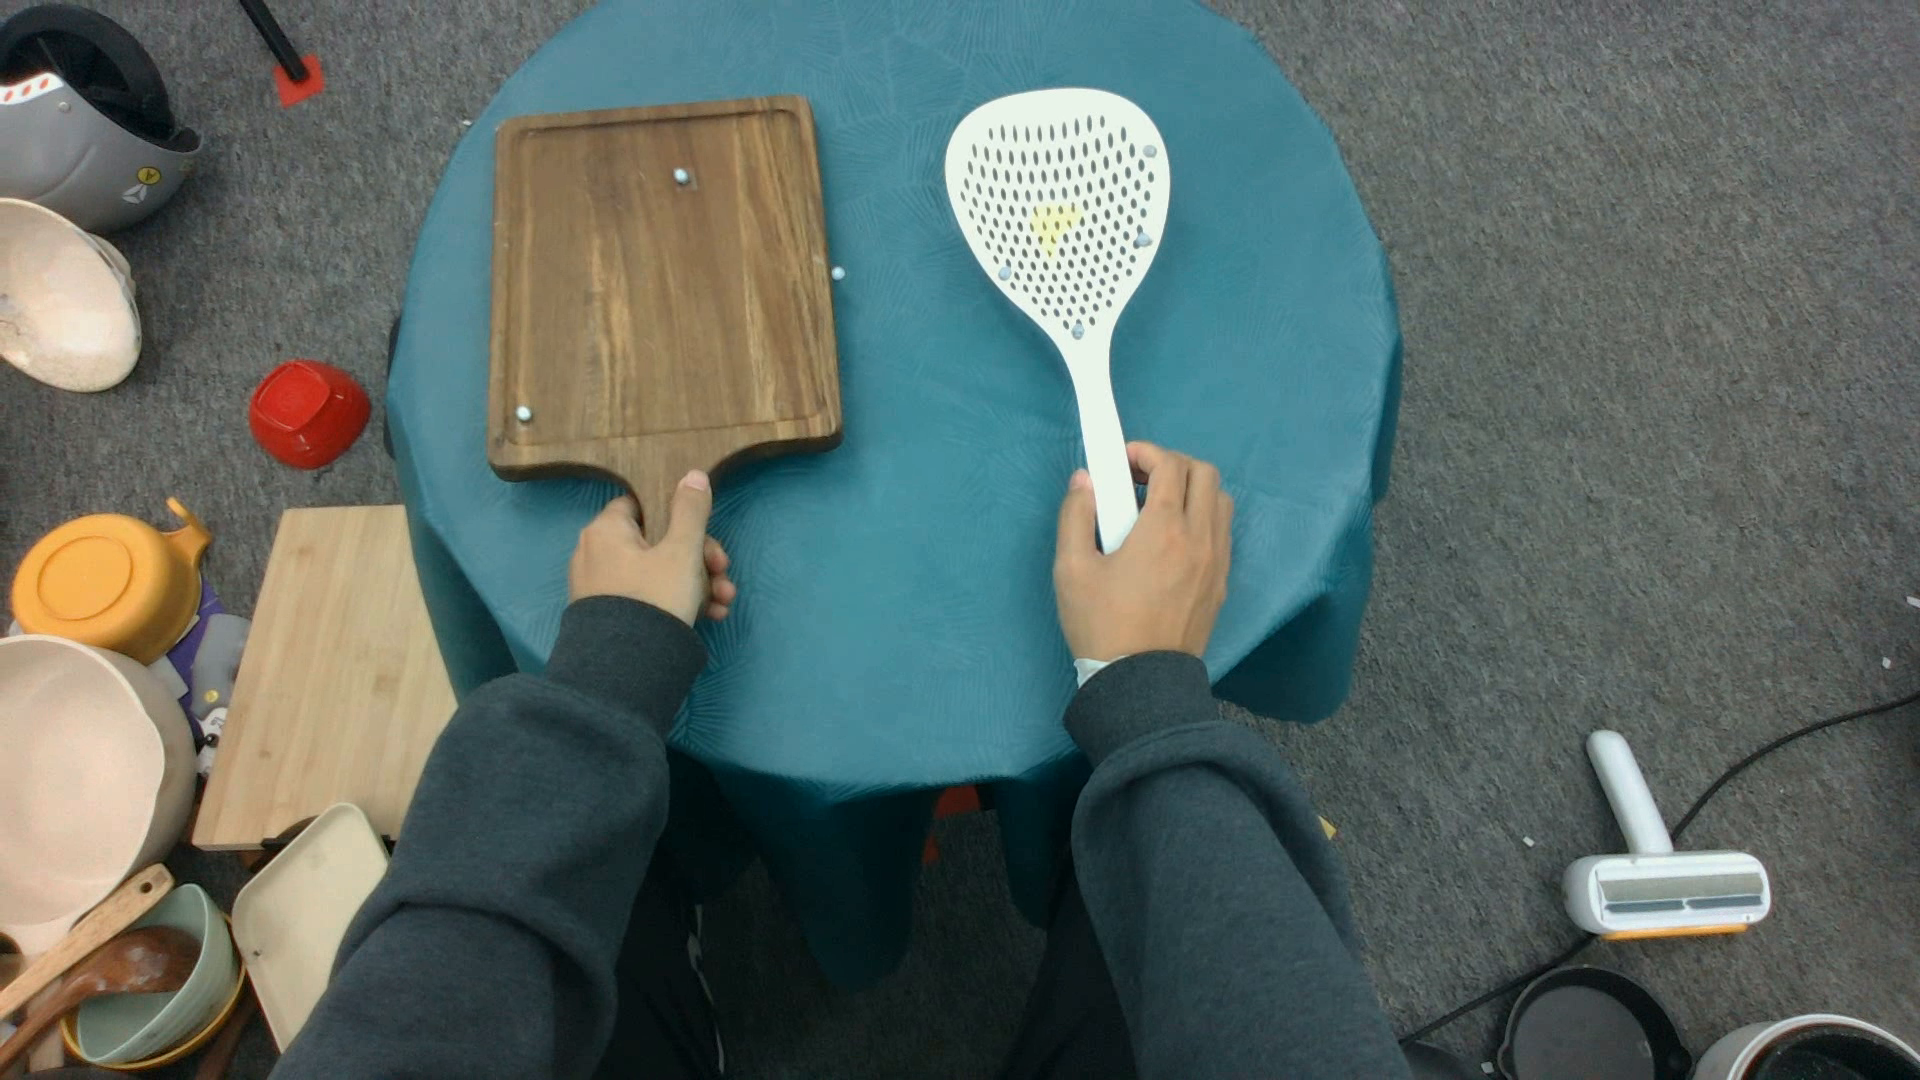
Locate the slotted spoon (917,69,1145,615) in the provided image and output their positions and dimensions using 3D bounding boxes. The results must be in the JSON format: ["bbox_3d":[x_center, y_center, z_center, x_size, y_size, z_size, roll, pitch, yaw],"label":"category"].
[{"bbox_3d":[0.060,-0.125,0.799,0.137,0.050,0.349,-7,66,-5],"label":"slotted spoon"}]

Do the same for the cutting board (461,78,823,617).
[{"bbox_3d":[-0.185,-0.120,0.793,0.201,0.023,0.353,-7,65,-4],"label":"cutting board"}]
